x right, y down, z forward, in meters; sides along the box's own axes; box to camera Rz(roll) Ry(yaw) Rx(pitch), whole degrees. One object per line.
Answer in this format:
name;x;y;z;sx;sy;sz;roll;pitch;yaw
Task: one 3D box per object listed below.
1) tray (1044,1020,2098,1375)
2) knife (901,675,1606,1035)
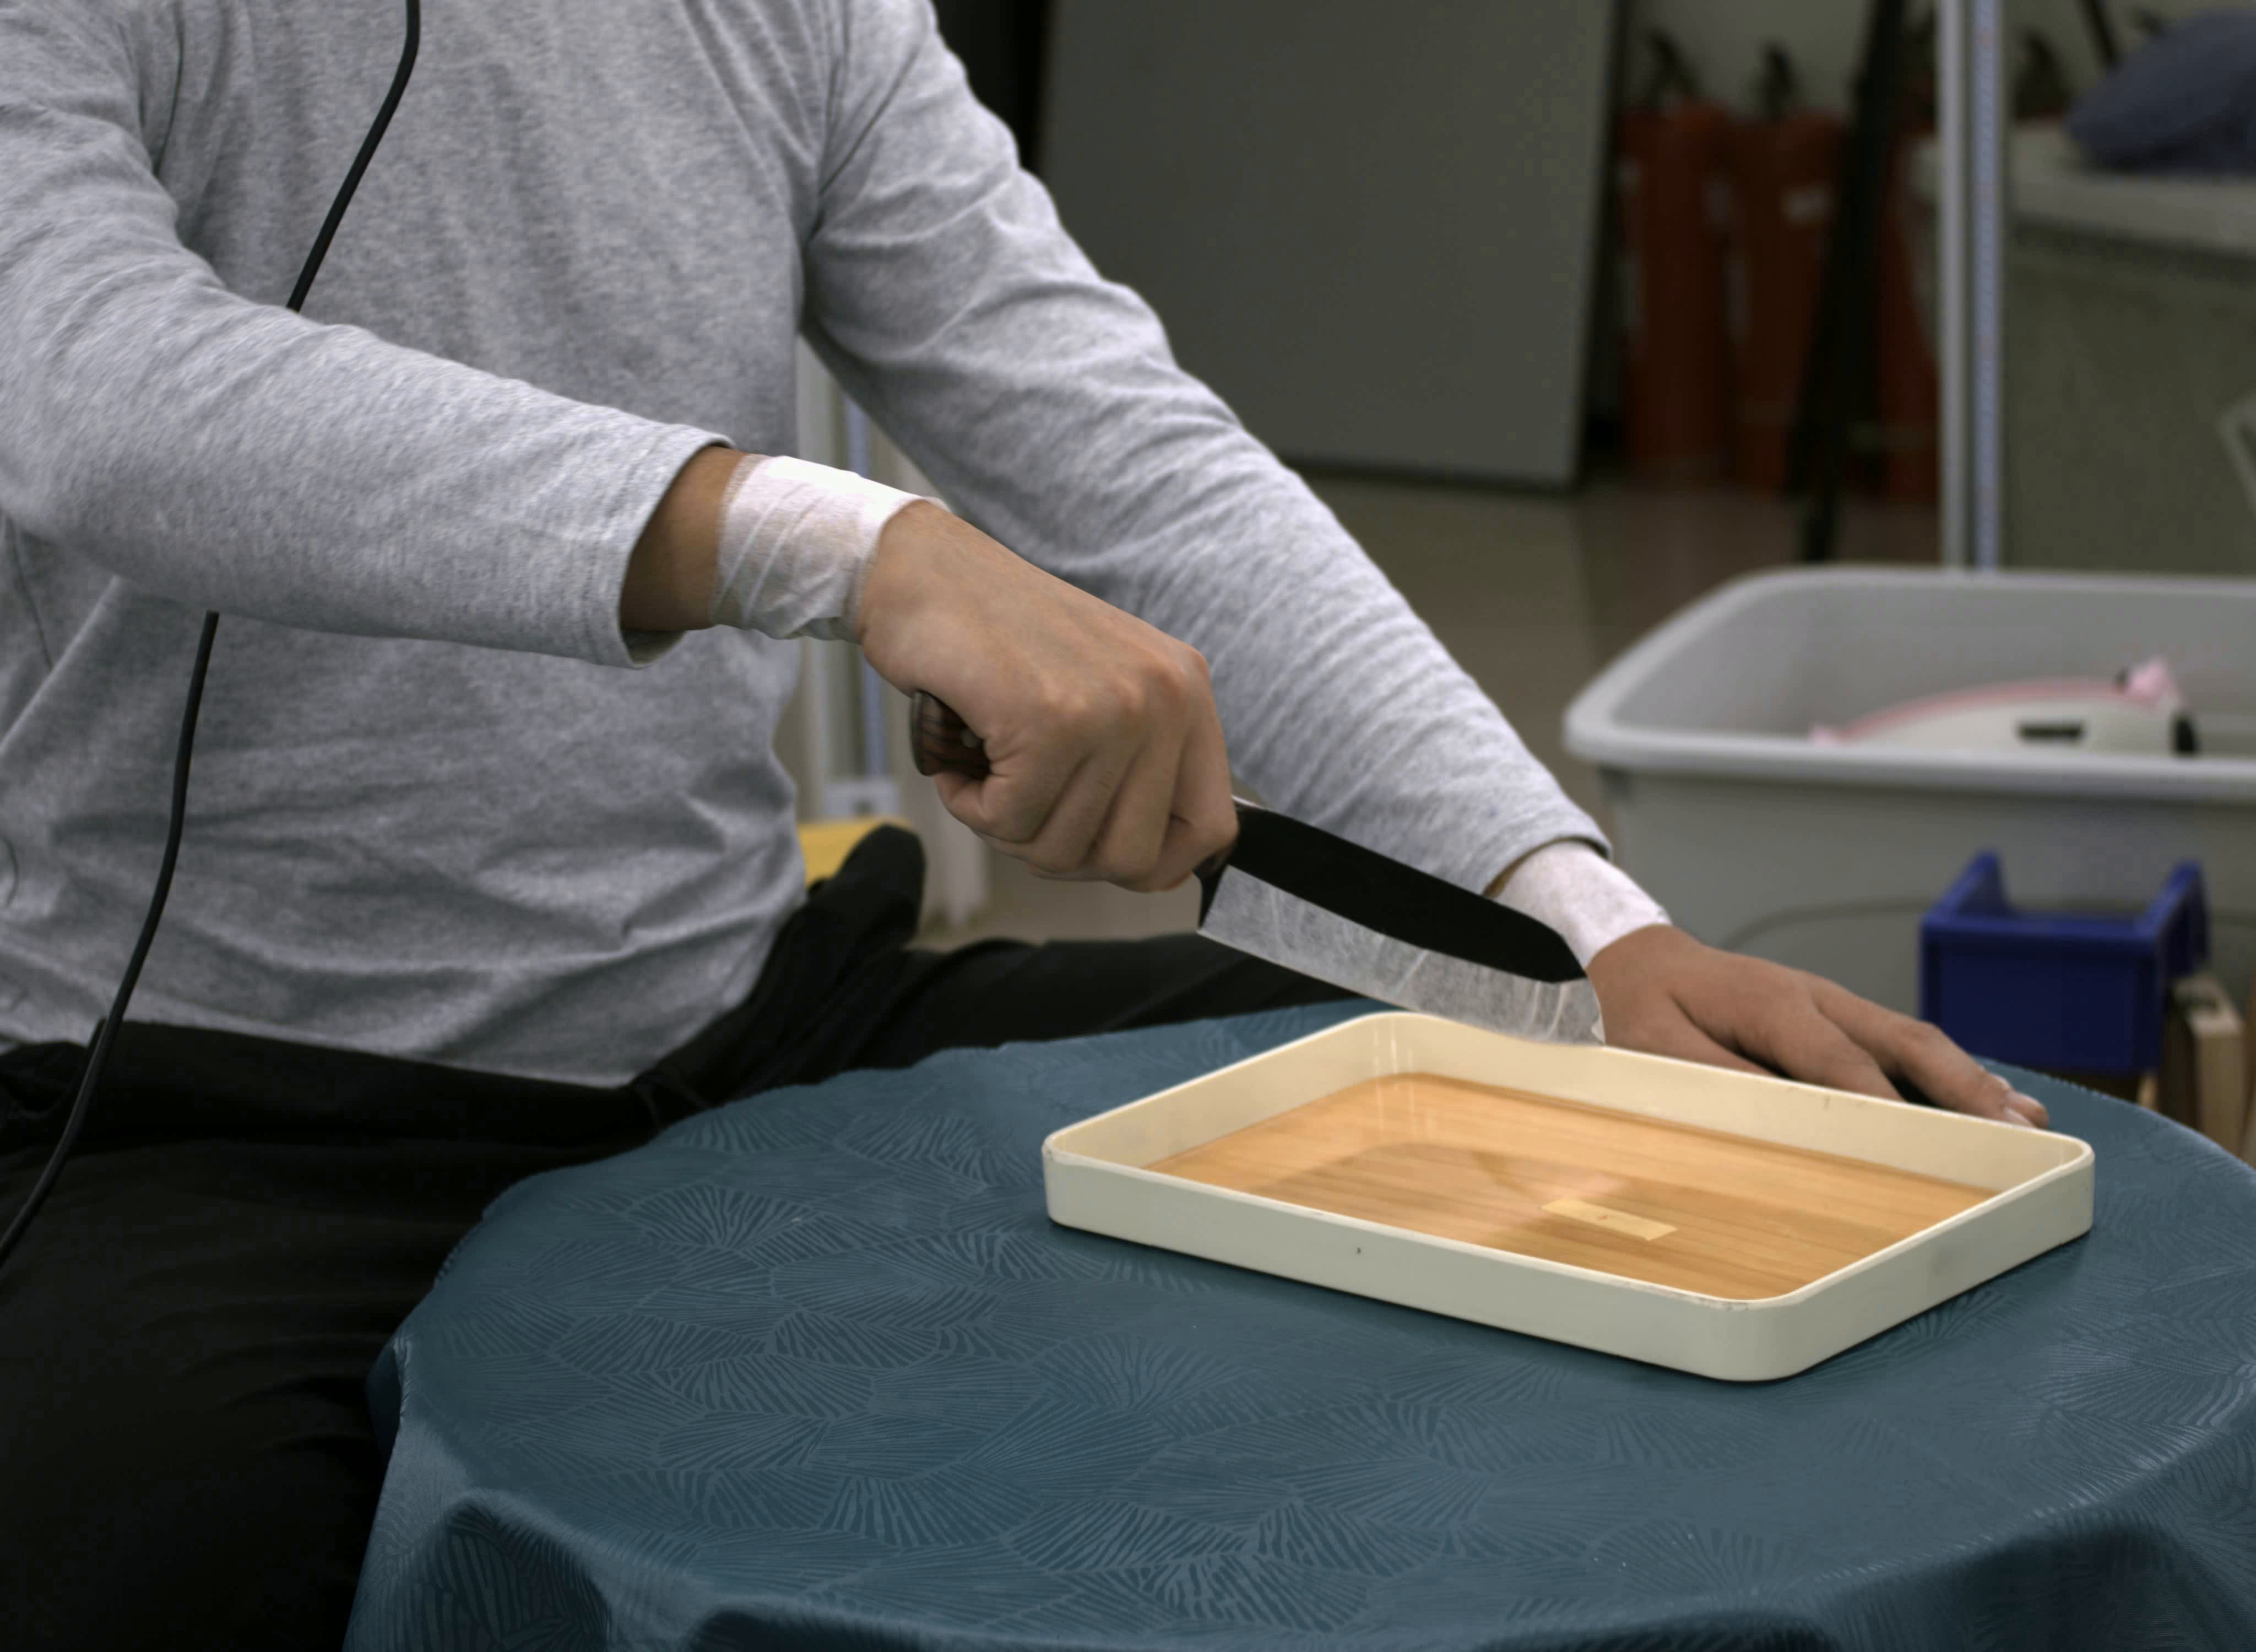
tray;0.137;0.114;1.709;0.303;0.028;0.188;8;18;43
knife;0.044;0.012;1.651;0.283;0.051;0.020;24;-3;-32
